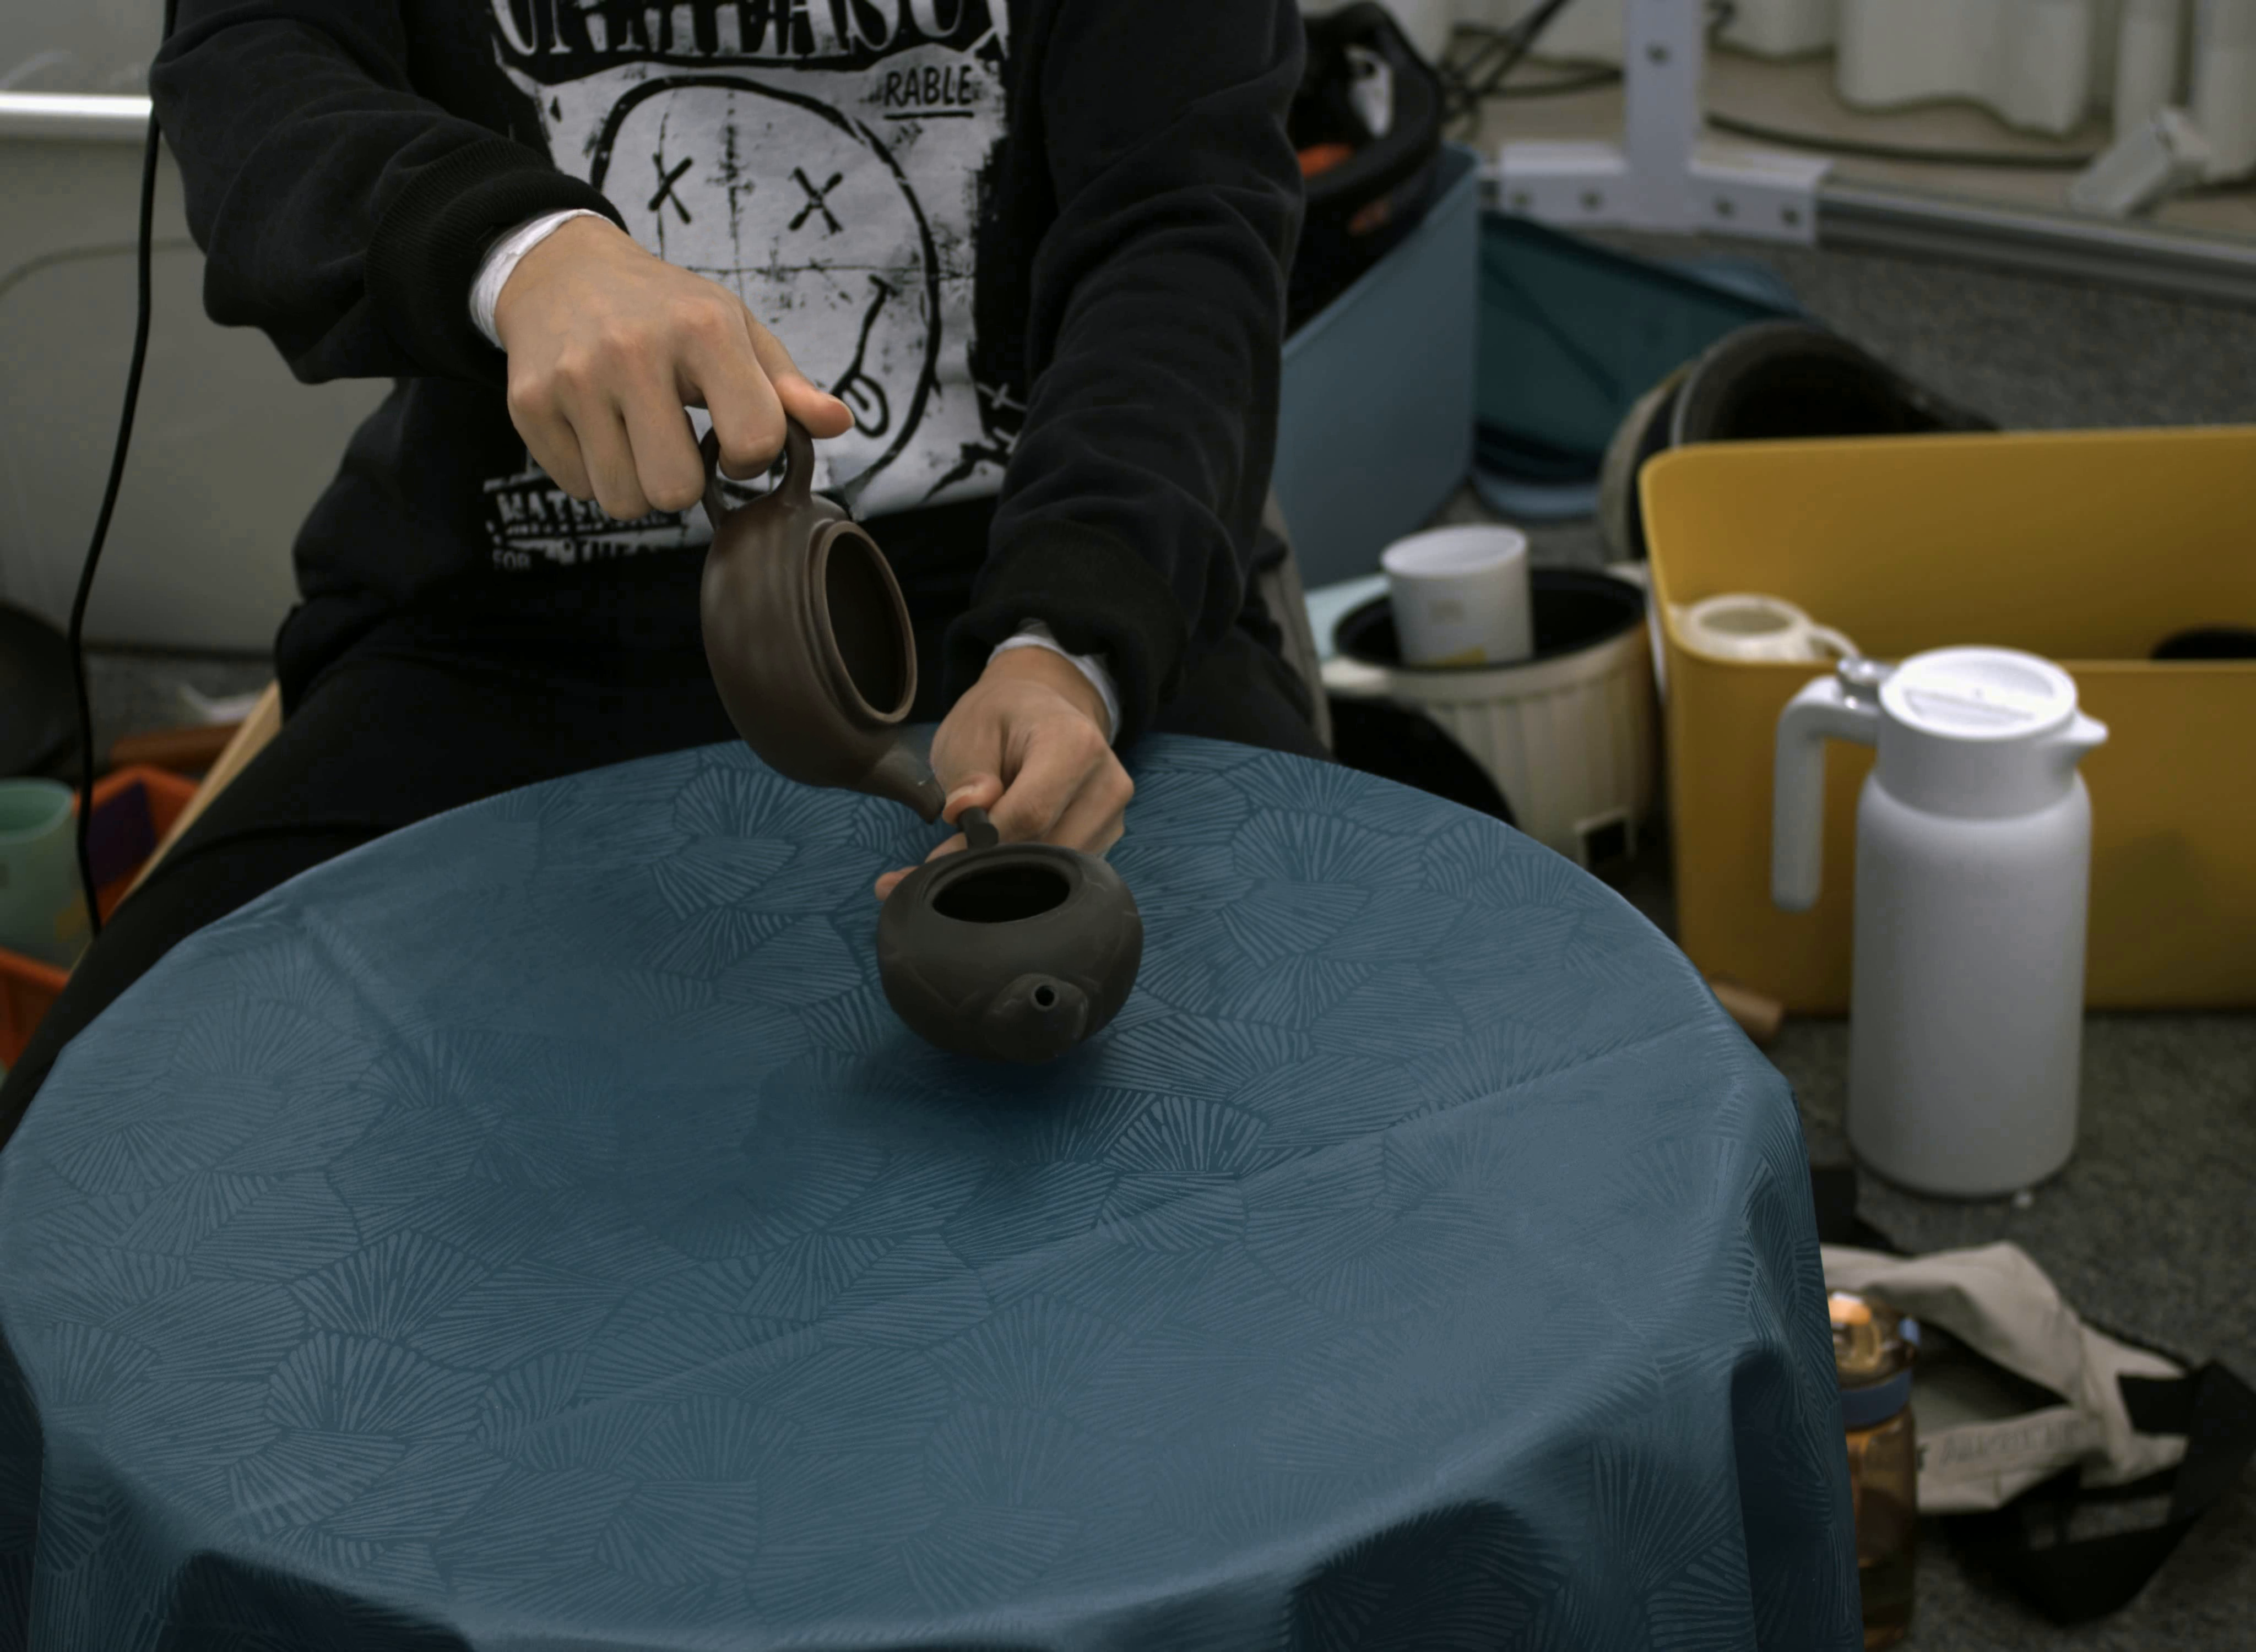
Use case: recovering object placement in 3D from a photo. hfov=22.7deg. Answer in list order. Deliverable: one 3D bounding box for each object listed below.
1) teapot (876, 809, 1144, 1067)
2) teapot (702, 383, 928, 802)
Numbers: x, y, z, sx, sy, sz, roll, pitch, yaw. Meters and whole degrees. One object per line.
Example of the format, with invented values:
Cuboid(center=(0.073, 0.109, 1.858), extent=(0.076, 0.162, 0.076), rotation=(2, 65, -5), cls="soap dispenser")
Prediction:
Cuboid(center=(-0.041, 0.042, 1.930), extent=(0.092, 0.064, 0.156), rotation=(-7, 27, -9), cls="teapot")
Cuboid(center=(-0.109, -0.076, 1.895), extent=(0.053, 0.152, 0.104), rotation=(-7, 24, 16), cls="teapot")
